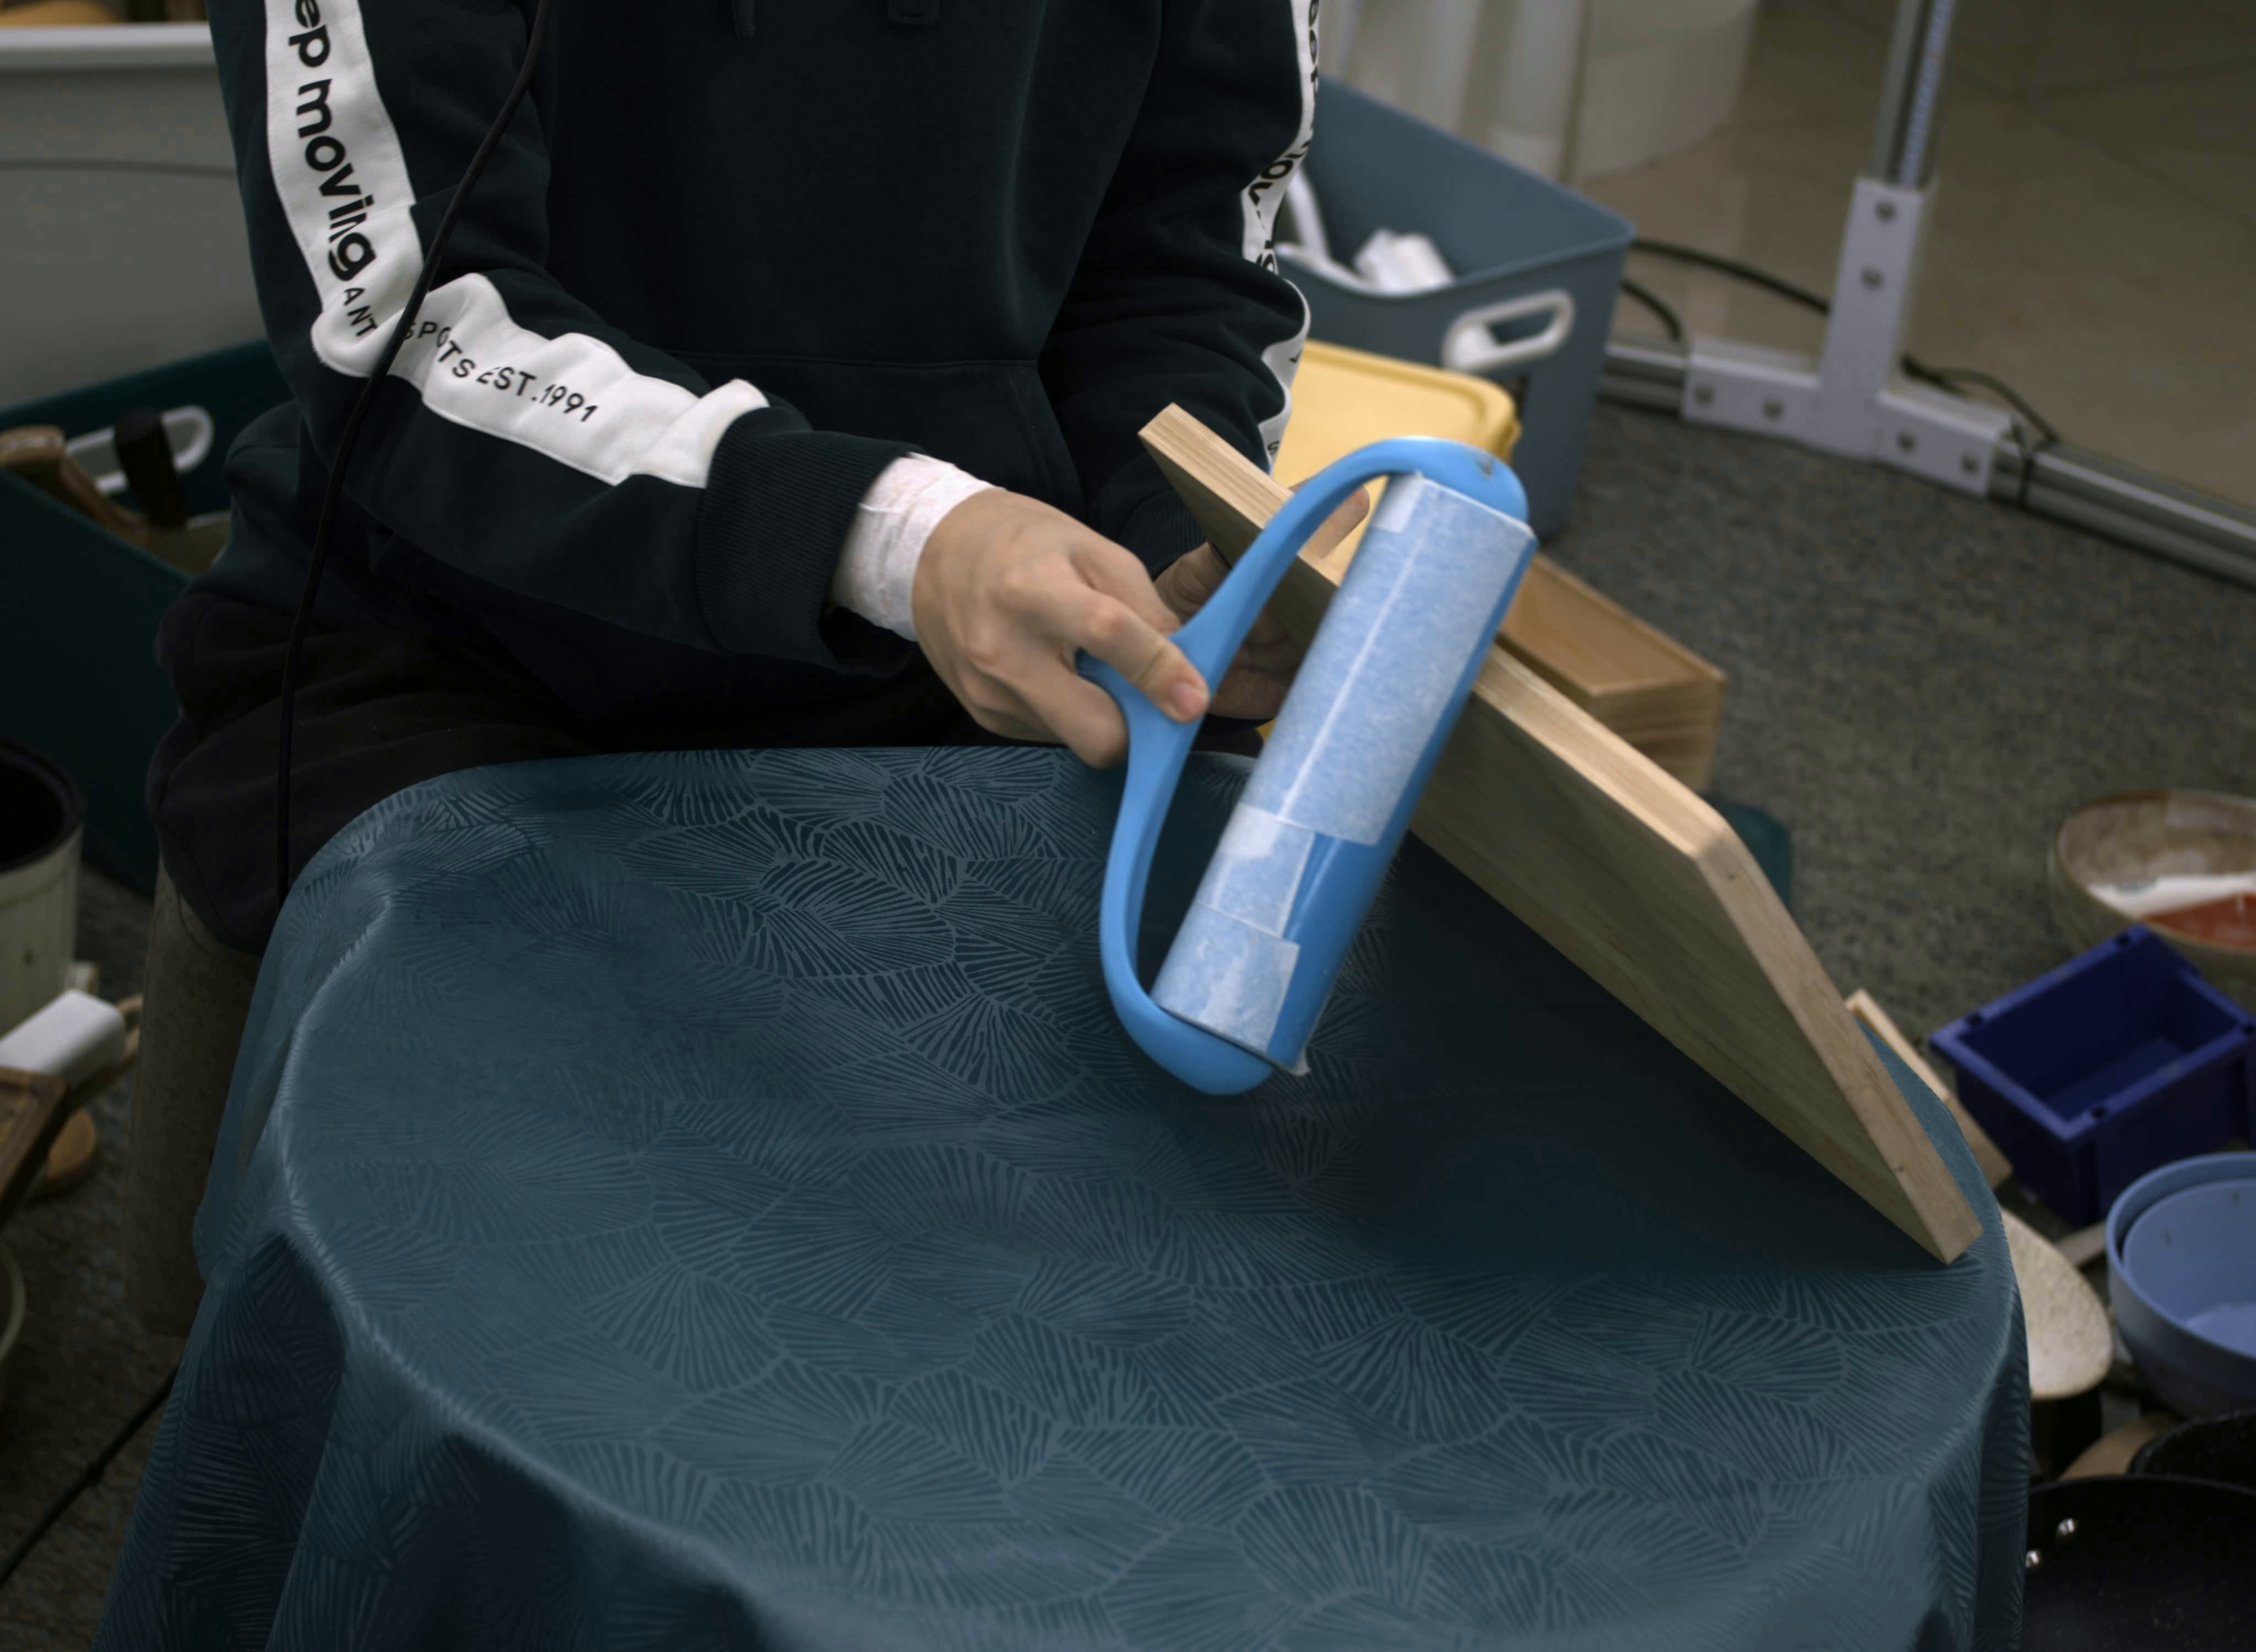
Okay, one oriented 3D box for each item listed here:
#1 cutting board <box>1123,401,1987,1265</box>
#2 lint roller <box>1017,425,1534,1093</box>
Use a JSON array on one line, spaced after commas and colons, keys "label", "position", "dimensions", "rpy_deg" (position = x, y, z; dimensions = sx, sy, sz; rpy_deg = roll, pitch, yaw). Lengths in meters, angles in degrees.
[{"label": "cutting board", "position": [0.144, -0.001, 1.860], "dimensions": [0.023, 0.248, 0.352], "rpy_deg": [-42, 42, -6]}, {"label": "lint roller", "position": [0.022, -0.038, 1.765], "dimensions": [0.181, 0.229, 0.067], "rpy_deg": [19, -4, 33]}]
